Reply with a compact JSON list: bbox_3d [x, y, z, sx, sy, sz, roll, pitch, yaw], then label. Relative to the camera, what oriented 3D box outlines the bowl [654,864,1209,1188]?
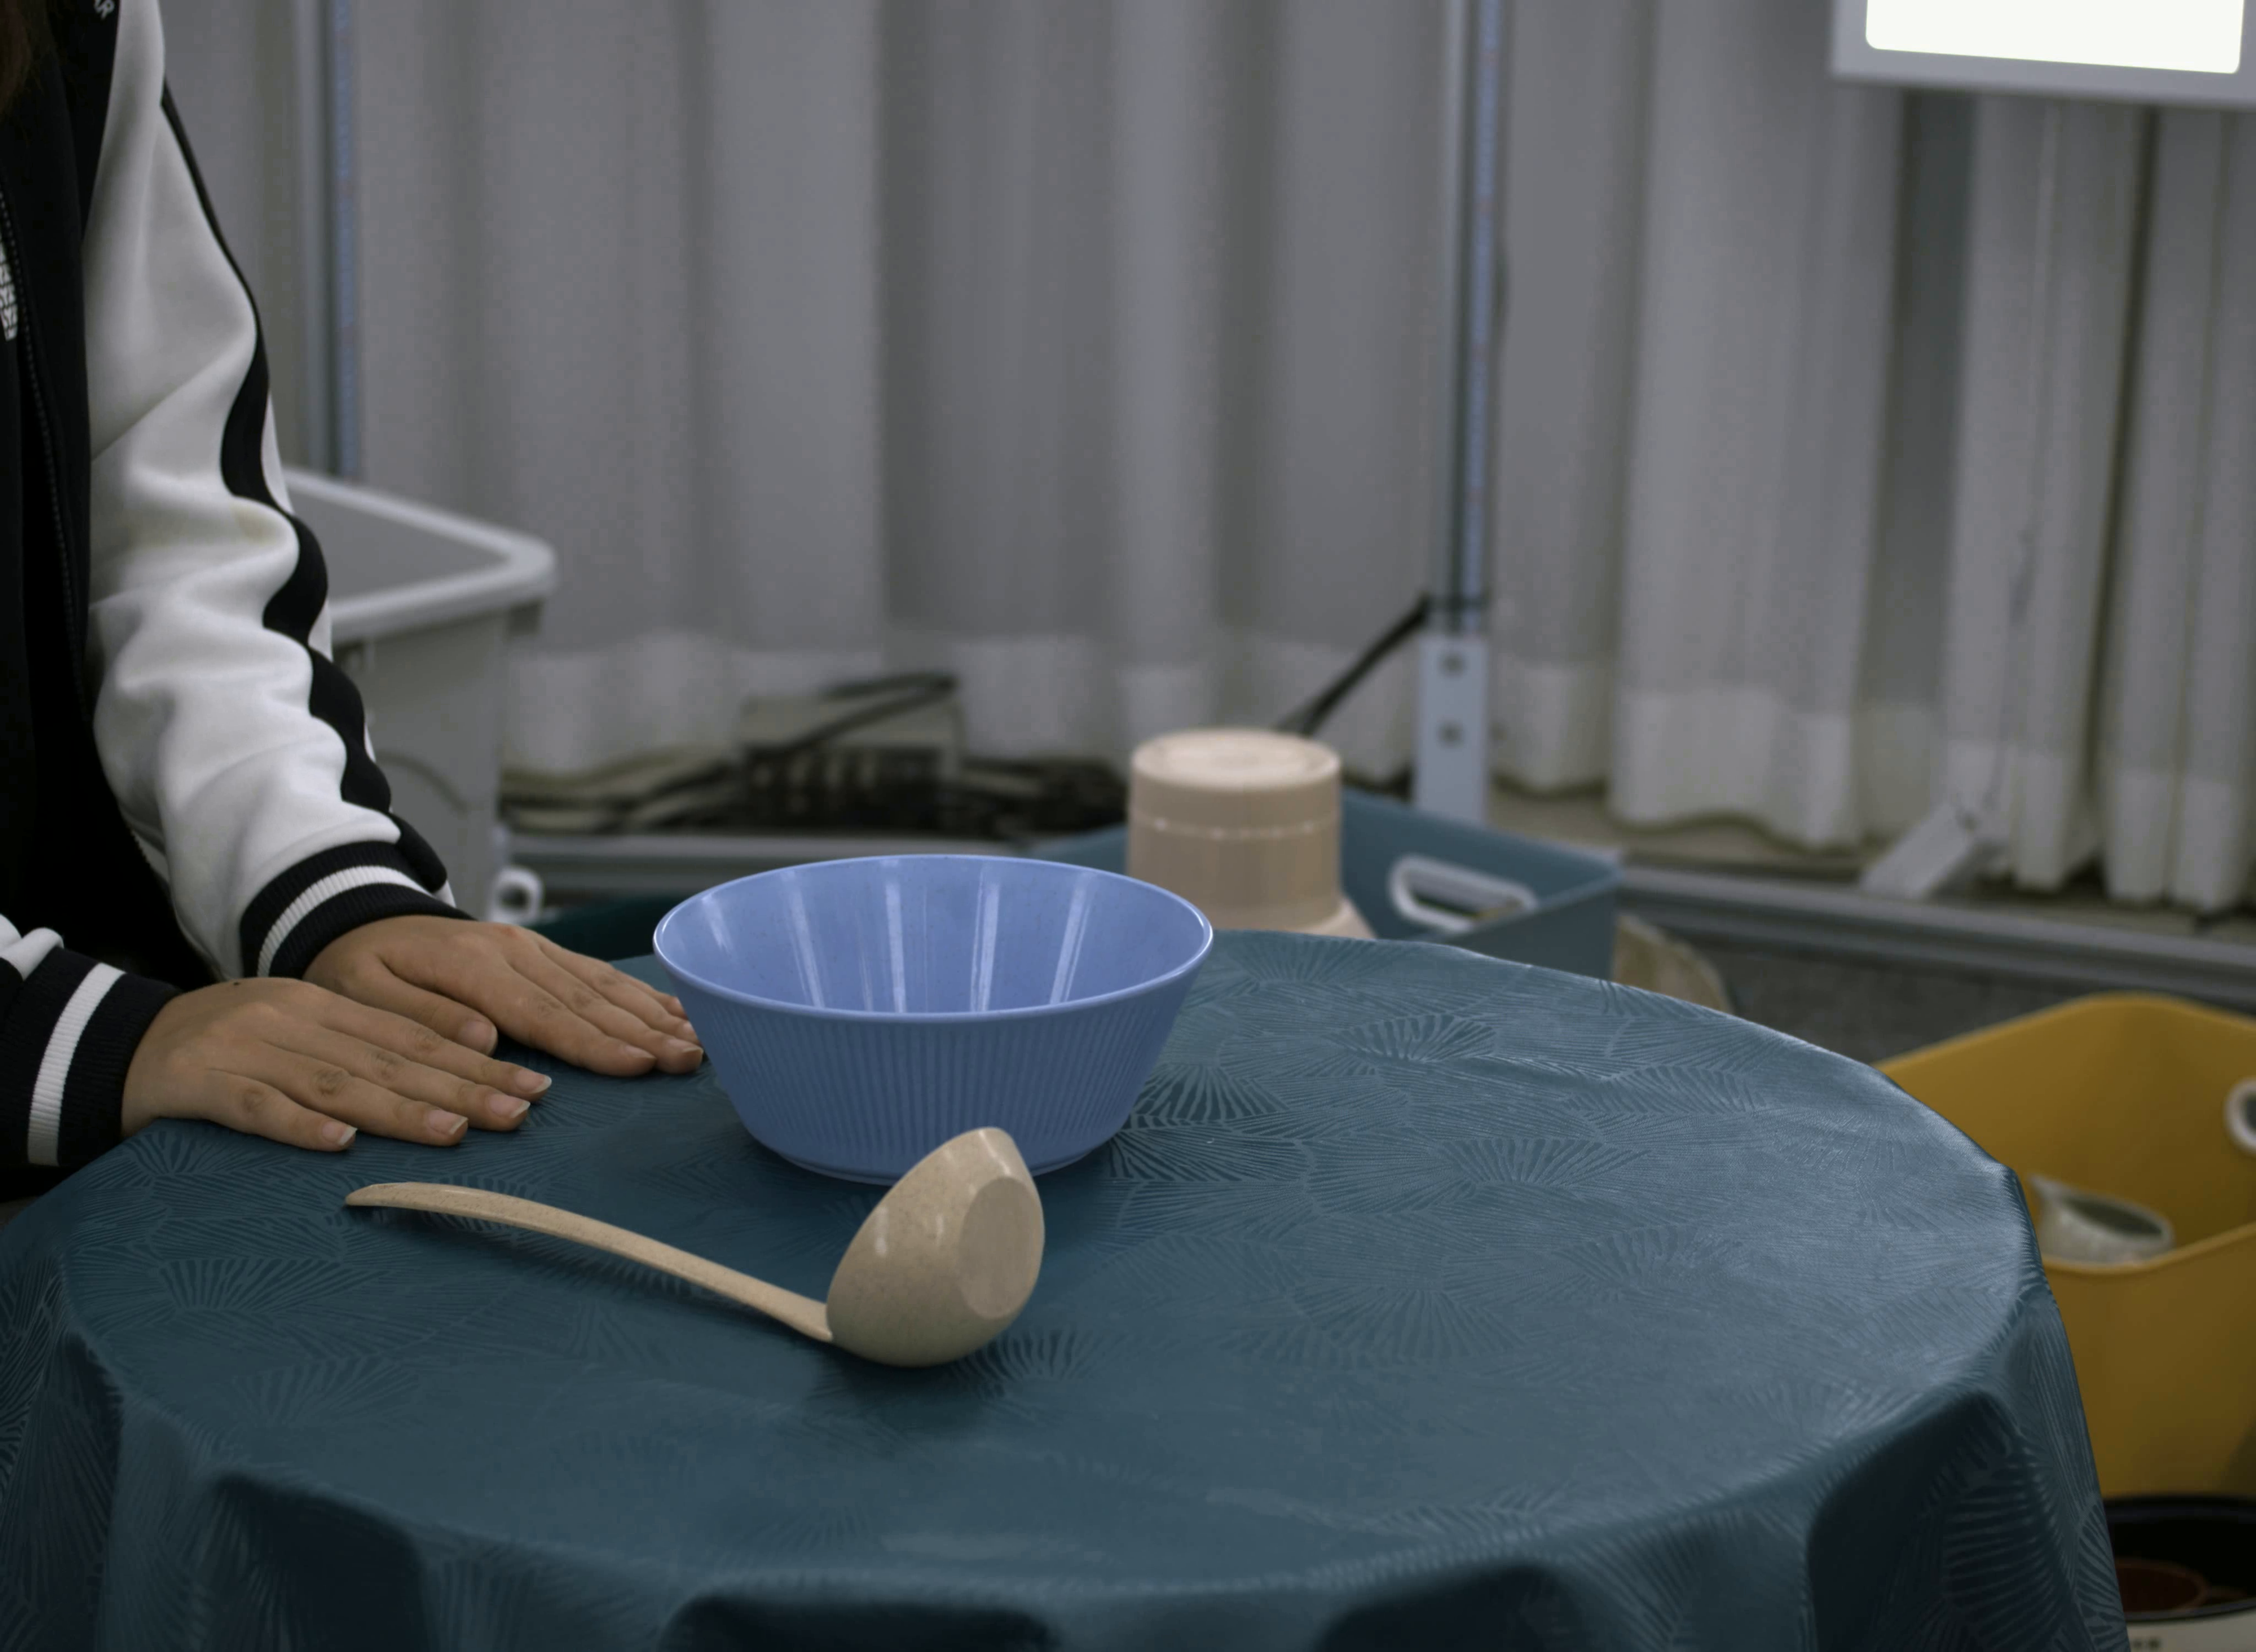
[{"bbox_3d":[-0.062,0.065,1.661,0.175,0.071,0.175,2,15,0],"label":"bowl"}]

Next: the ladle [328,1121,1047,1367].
[{"bbox_3d":[-0.136,0.100,1.523,0.251,0.073,0.072,11,15,33],"label":"ladle"}]
